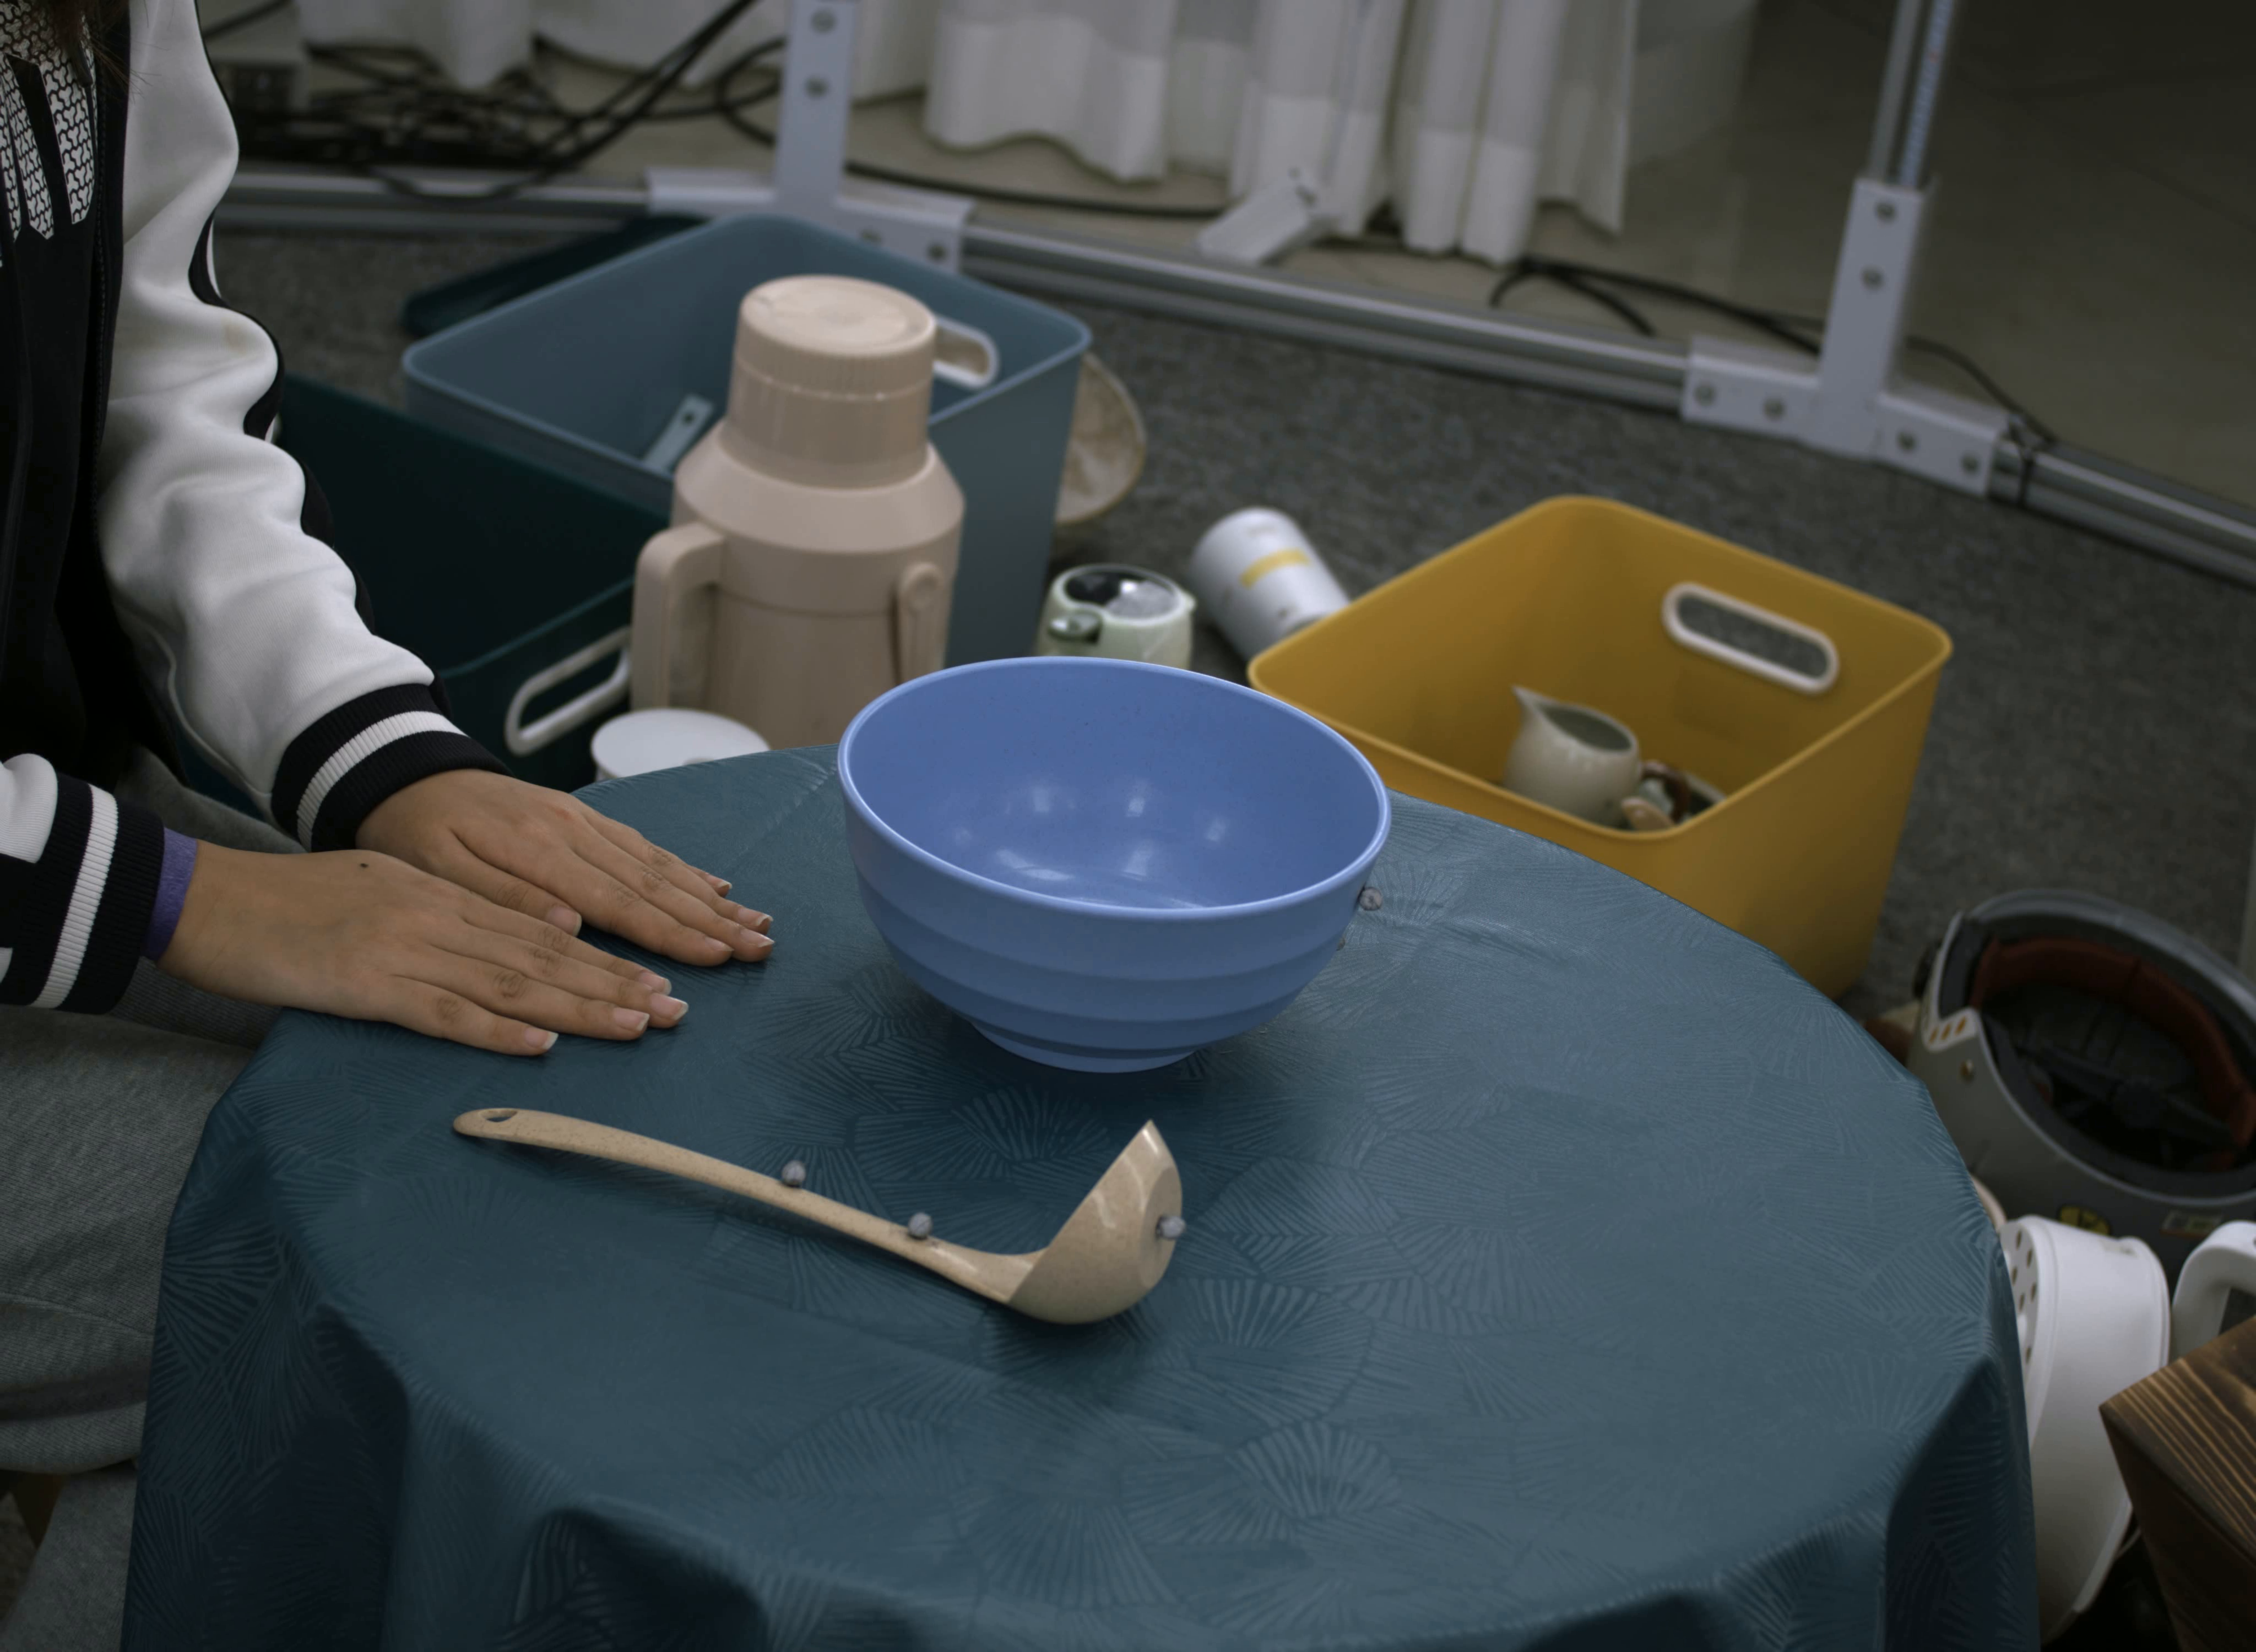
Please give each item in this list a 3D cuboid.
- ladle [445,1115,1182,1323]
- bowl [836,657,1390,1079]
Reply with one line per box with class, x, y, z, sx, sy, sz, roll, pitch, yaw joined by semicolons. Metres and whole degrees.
ladle;-0.106;0.101;1.741;0.255;0.072;0.072;14;27;15
bowl;-0.009;0.026;1.892;0.196;0.095;0.198;5;28;-3
